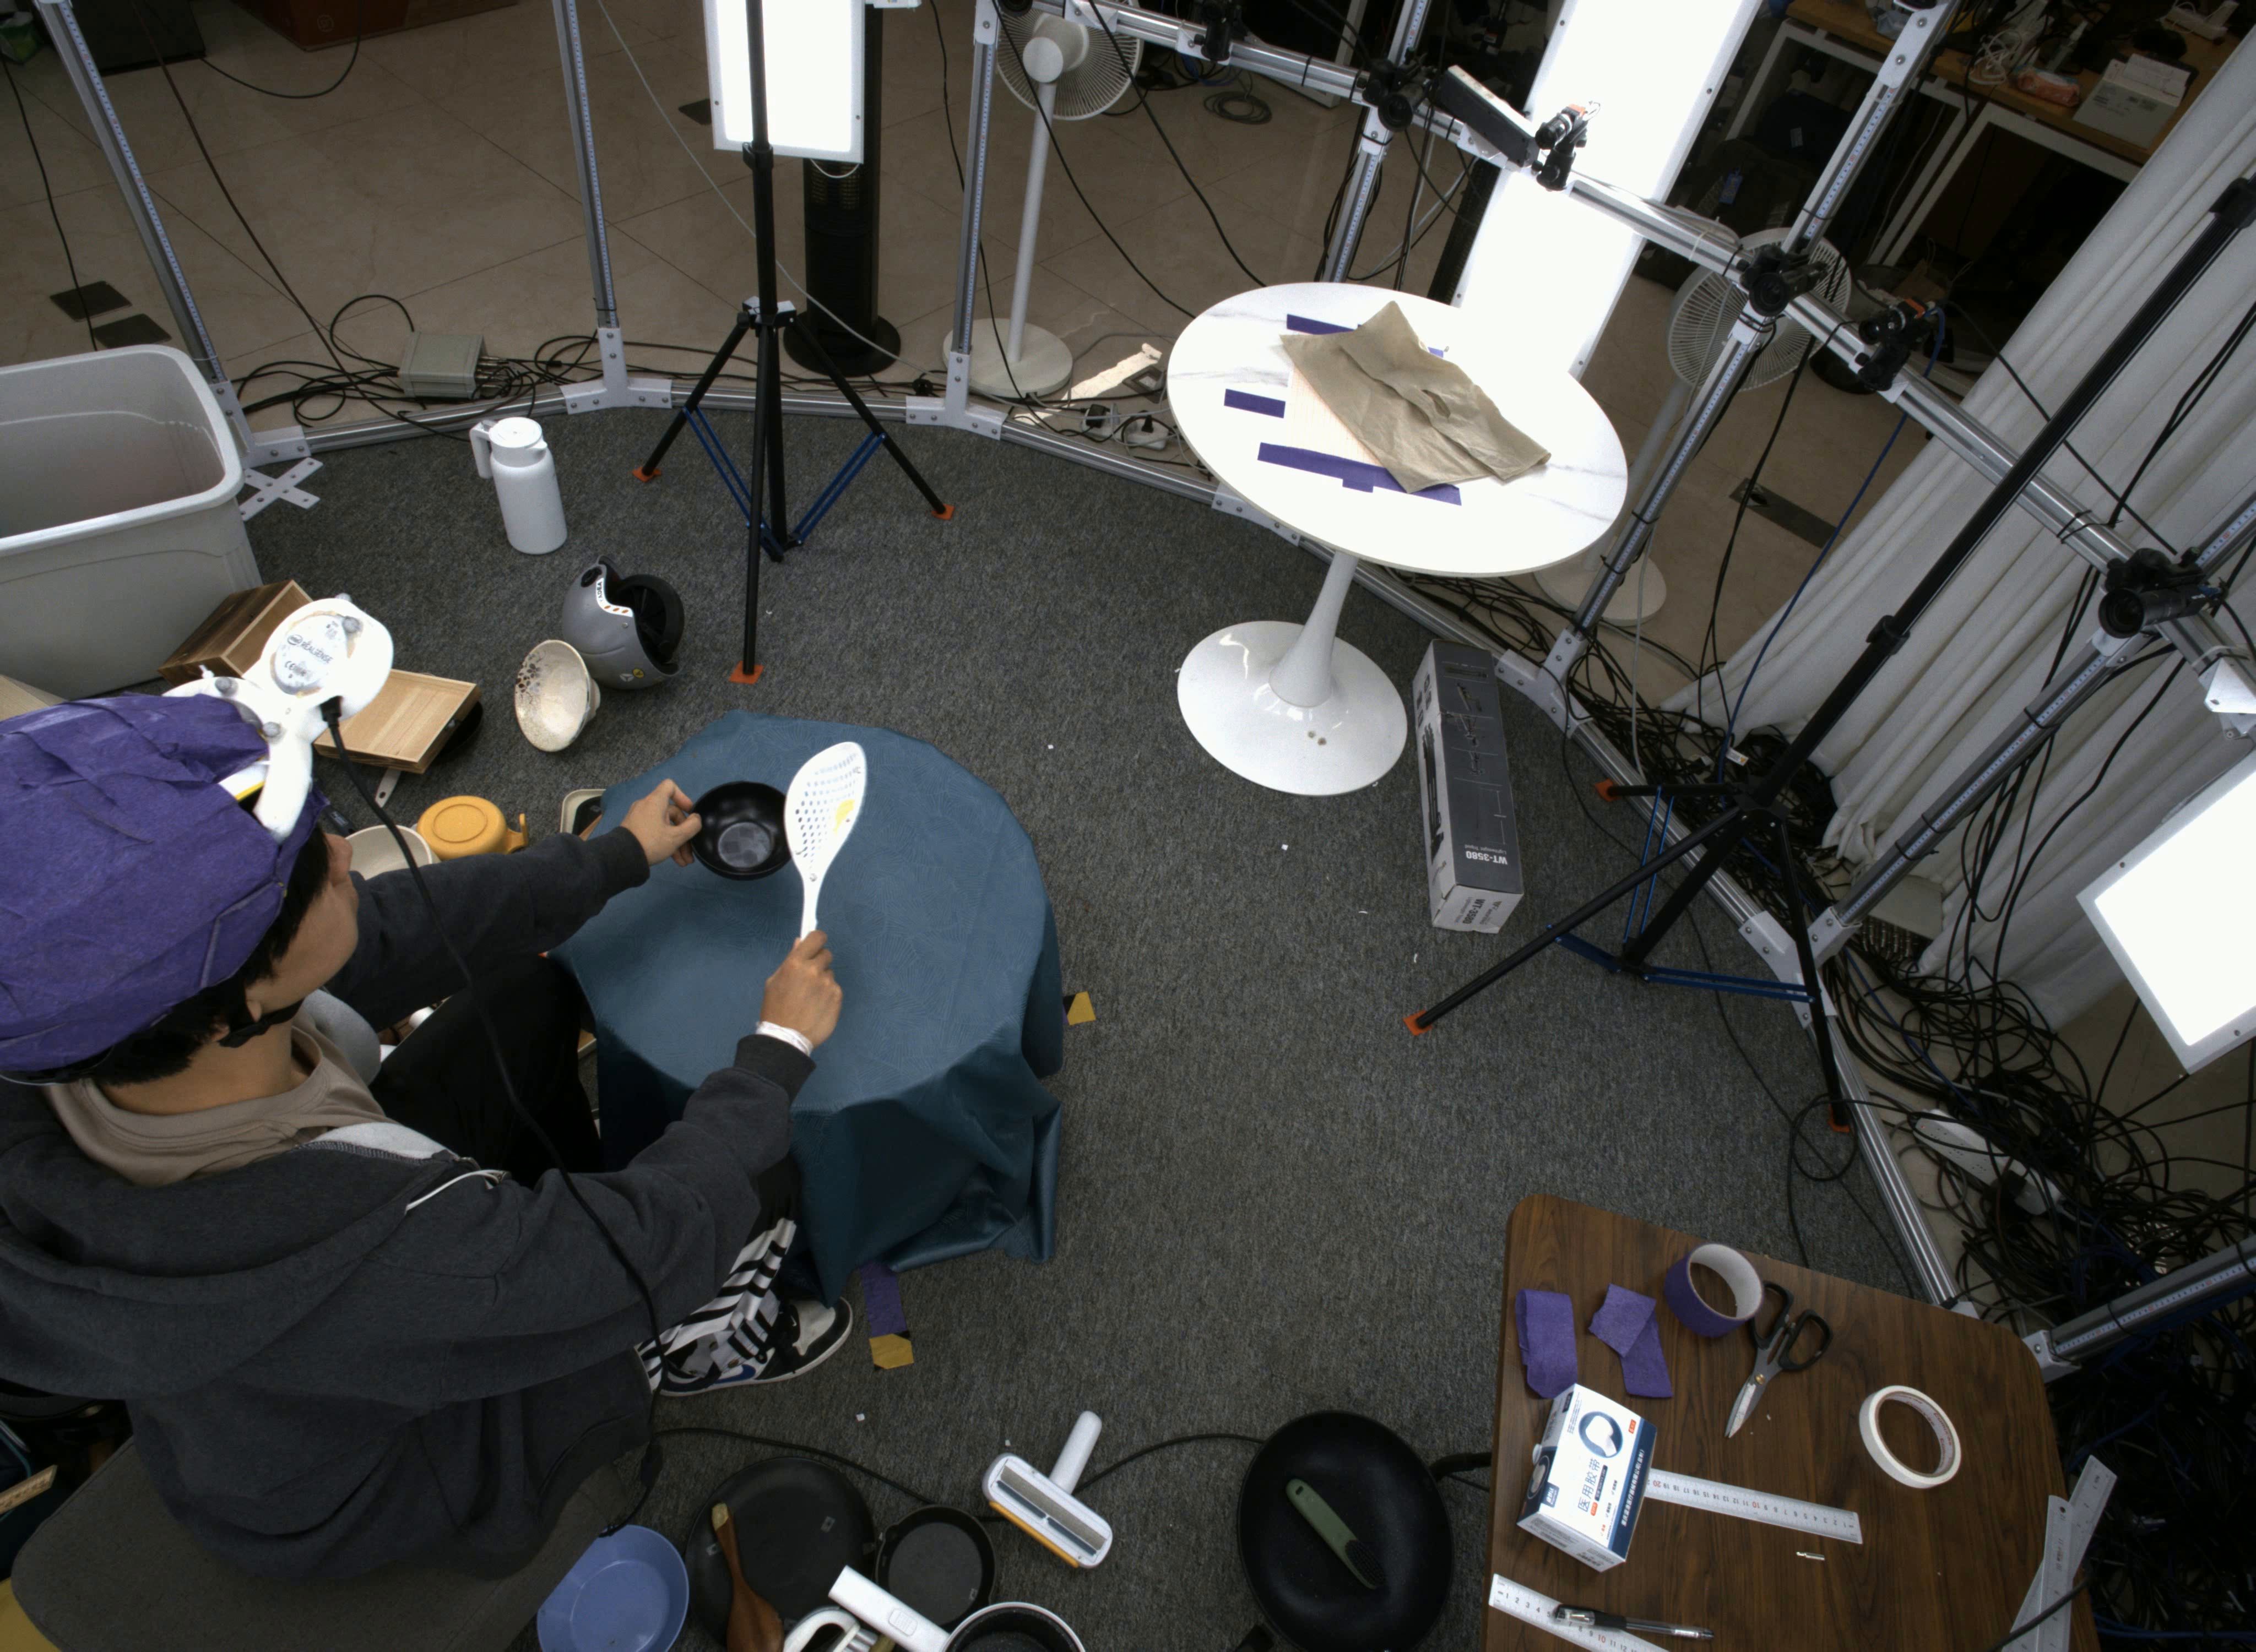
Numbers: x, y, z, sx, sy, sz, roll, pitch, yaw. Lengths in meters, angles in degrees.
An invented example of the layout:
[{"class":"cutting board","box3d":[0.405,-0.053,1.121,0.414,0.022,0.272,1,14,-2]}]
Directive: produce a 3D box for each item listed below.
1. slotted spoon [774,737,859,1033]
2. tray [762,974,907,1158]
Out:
[{"class":"slotted spoon","box3d":[-0.351,0.062,1.467,0.134,0.052,0.343,-18,57,28]},{"class":"tray","box3d":[-0.486,0.385,2.135,0.192,0.028,0.293,-8,56,-20]}]
